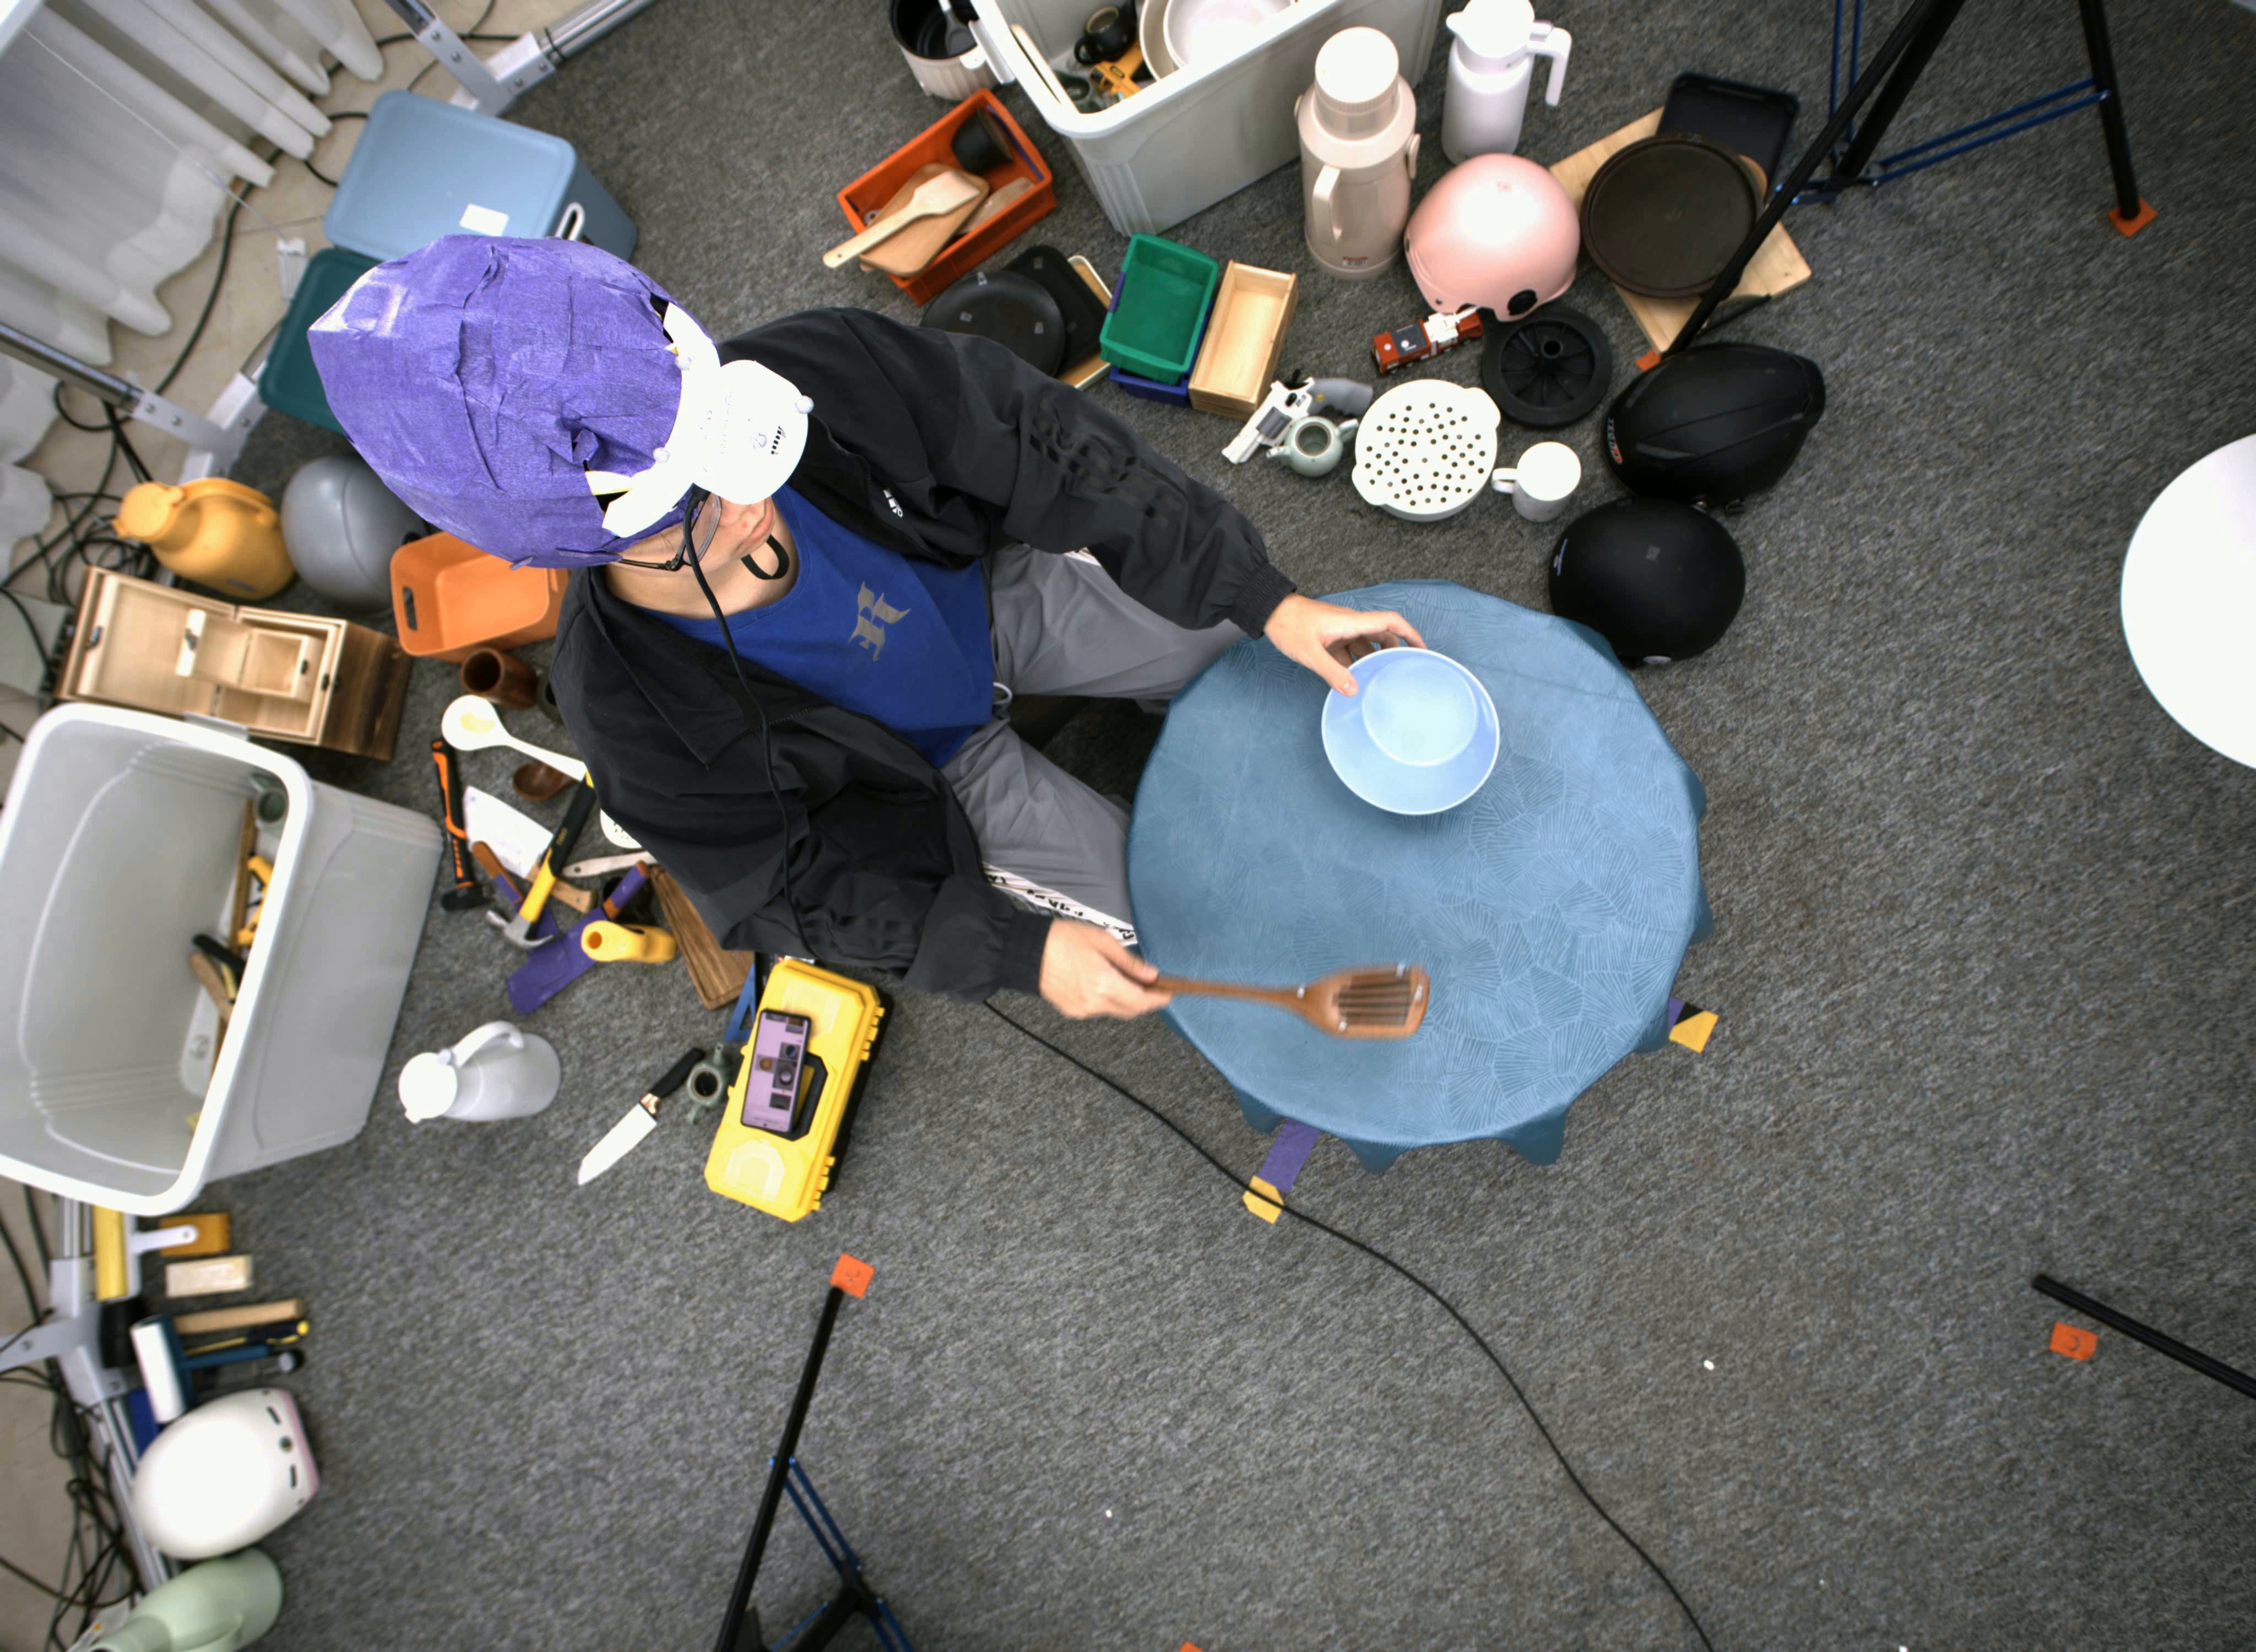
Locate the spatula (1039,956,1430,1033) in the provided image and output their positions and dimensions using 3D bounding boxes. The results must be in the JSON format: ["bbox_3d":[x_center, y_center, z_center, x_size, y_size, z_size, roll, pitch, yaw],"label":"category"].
[{"bbox_3d":[0.097,0.152,1.347,0.388,0.024,0.083,3,52,17],"label":"spatula"}]

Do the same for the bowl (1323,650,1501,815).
[{"bbox_3d":[0.288,-0.104,1.372,0.176,0.068,0.180,11,121,19],"label":"bowl"}]
